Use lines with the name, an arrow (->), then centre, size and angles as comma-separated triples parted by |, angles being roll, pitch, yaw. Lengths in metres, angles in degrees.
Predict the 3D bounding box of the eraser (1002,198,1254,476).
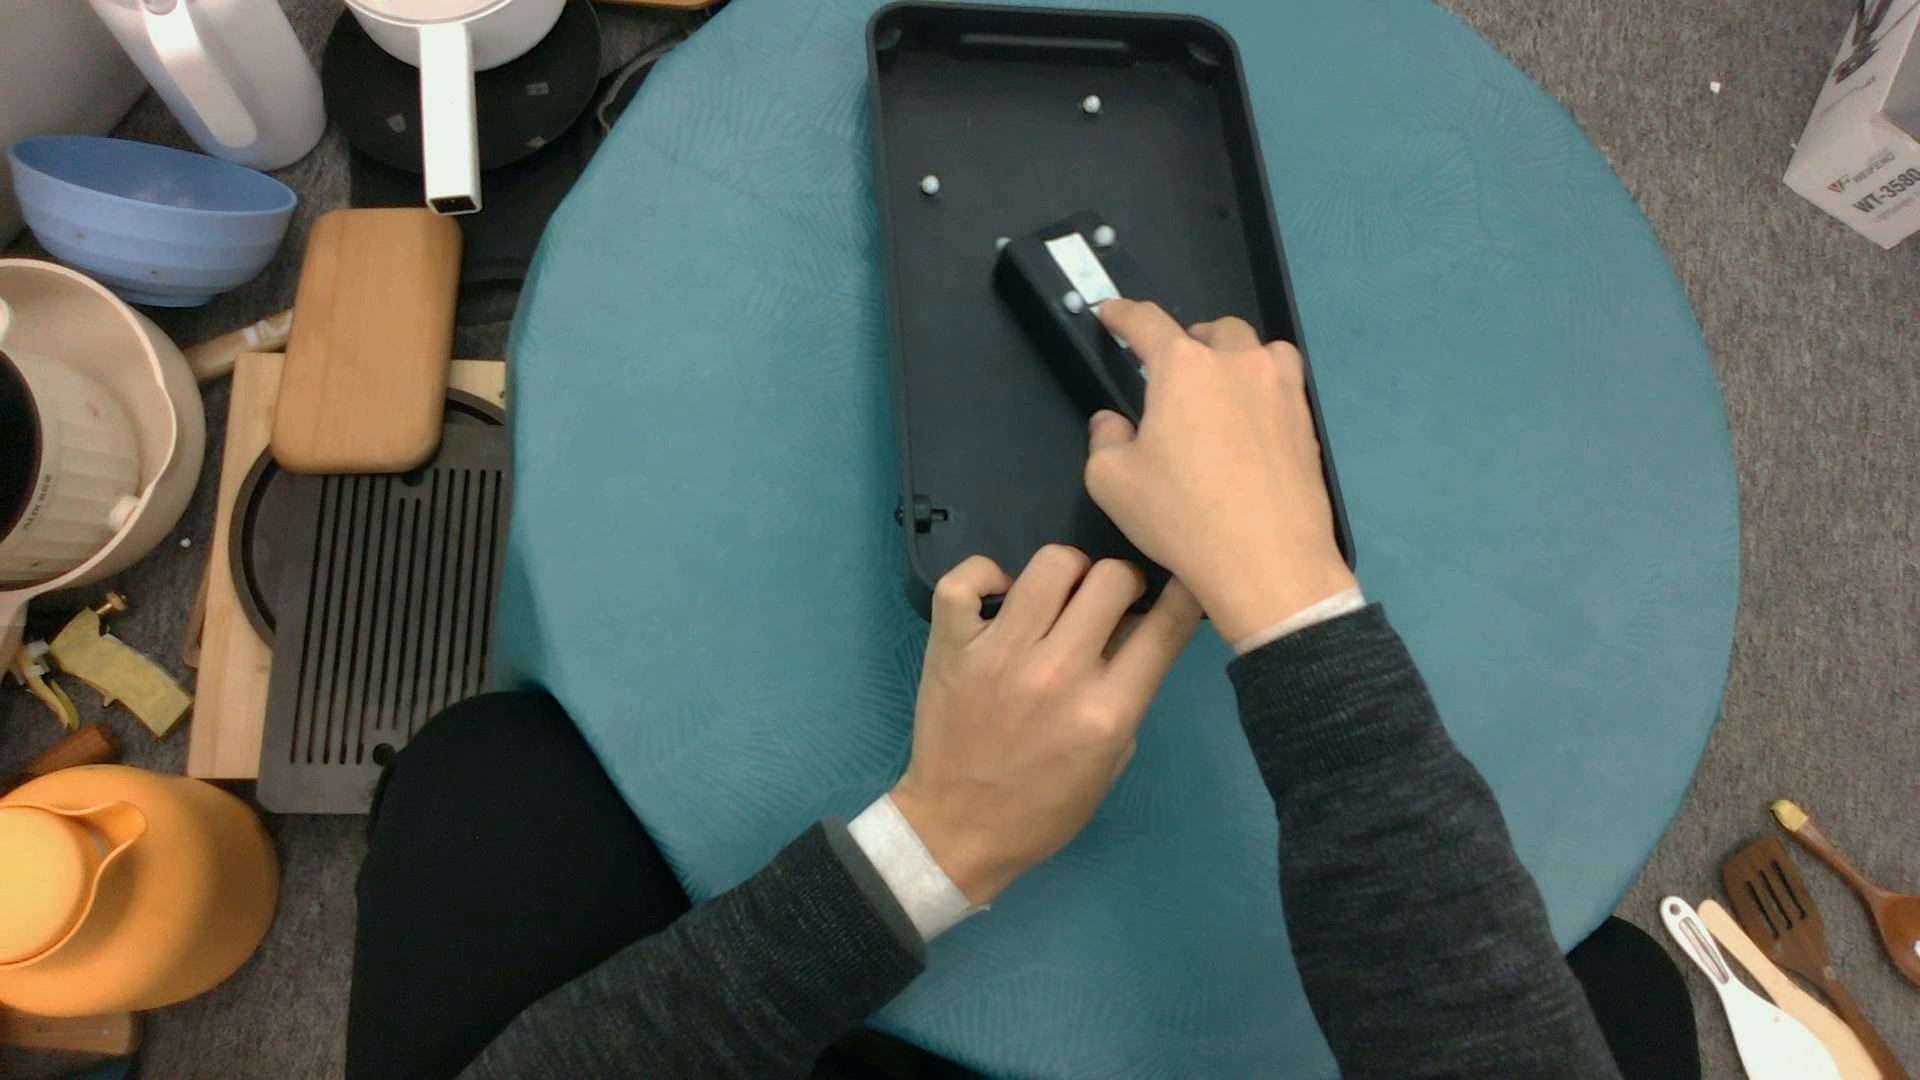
eraser -> 0.071, -0.090, 0.604 | 0.053, 0.030, 0.126 | -26, 69, -17

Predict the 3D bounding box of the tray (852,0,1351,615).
tray -> 0.052, -0.119, 0.619 | 0.184, 0.037, 0.319 | -2, 64, -11
